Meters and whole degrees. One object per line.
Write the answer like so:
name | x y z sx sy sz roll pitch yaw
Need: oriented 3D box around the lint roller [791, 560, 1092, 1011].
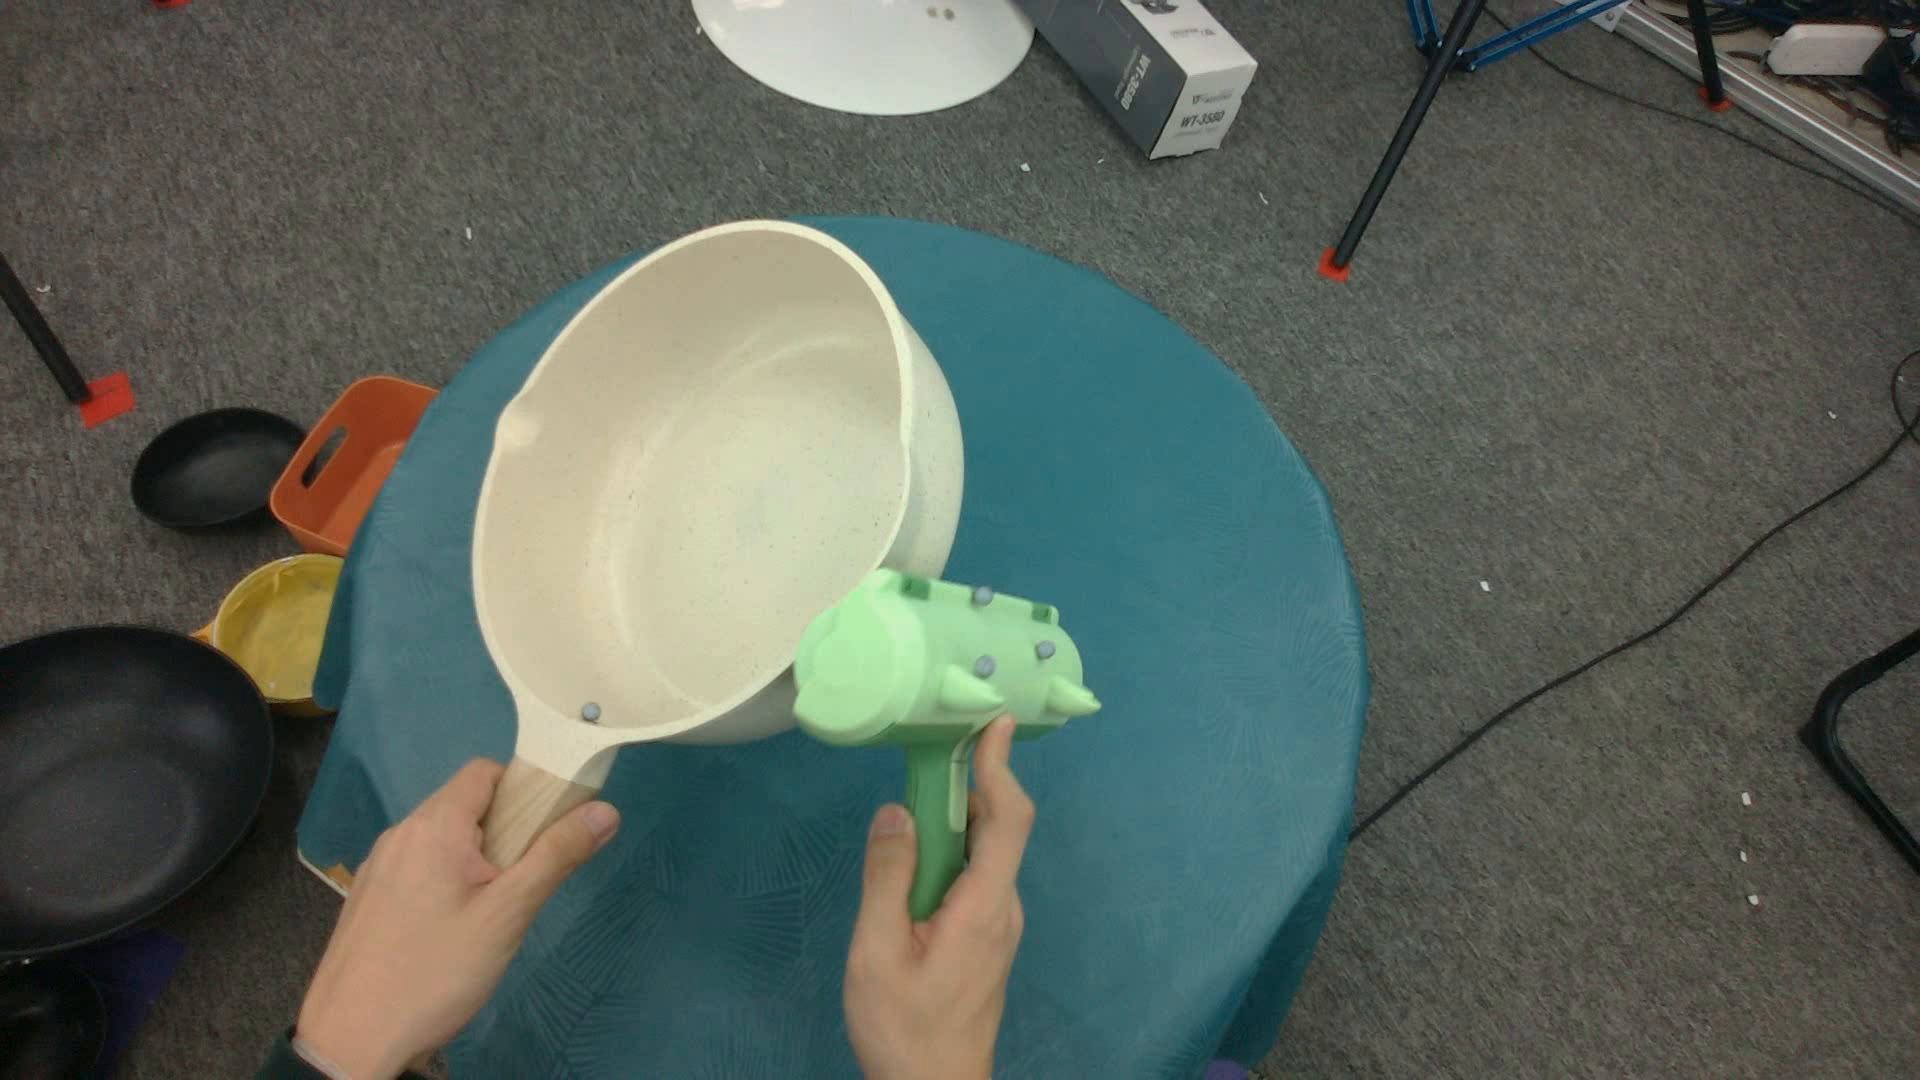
lint roller | 0.002 0.108 0.589 0.082 0.199 0.183 -5 81 22

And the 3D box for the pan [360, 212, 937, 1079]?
pan | -0.156 0.060 0.633 0.263 0.102 0.435 14 79 31
